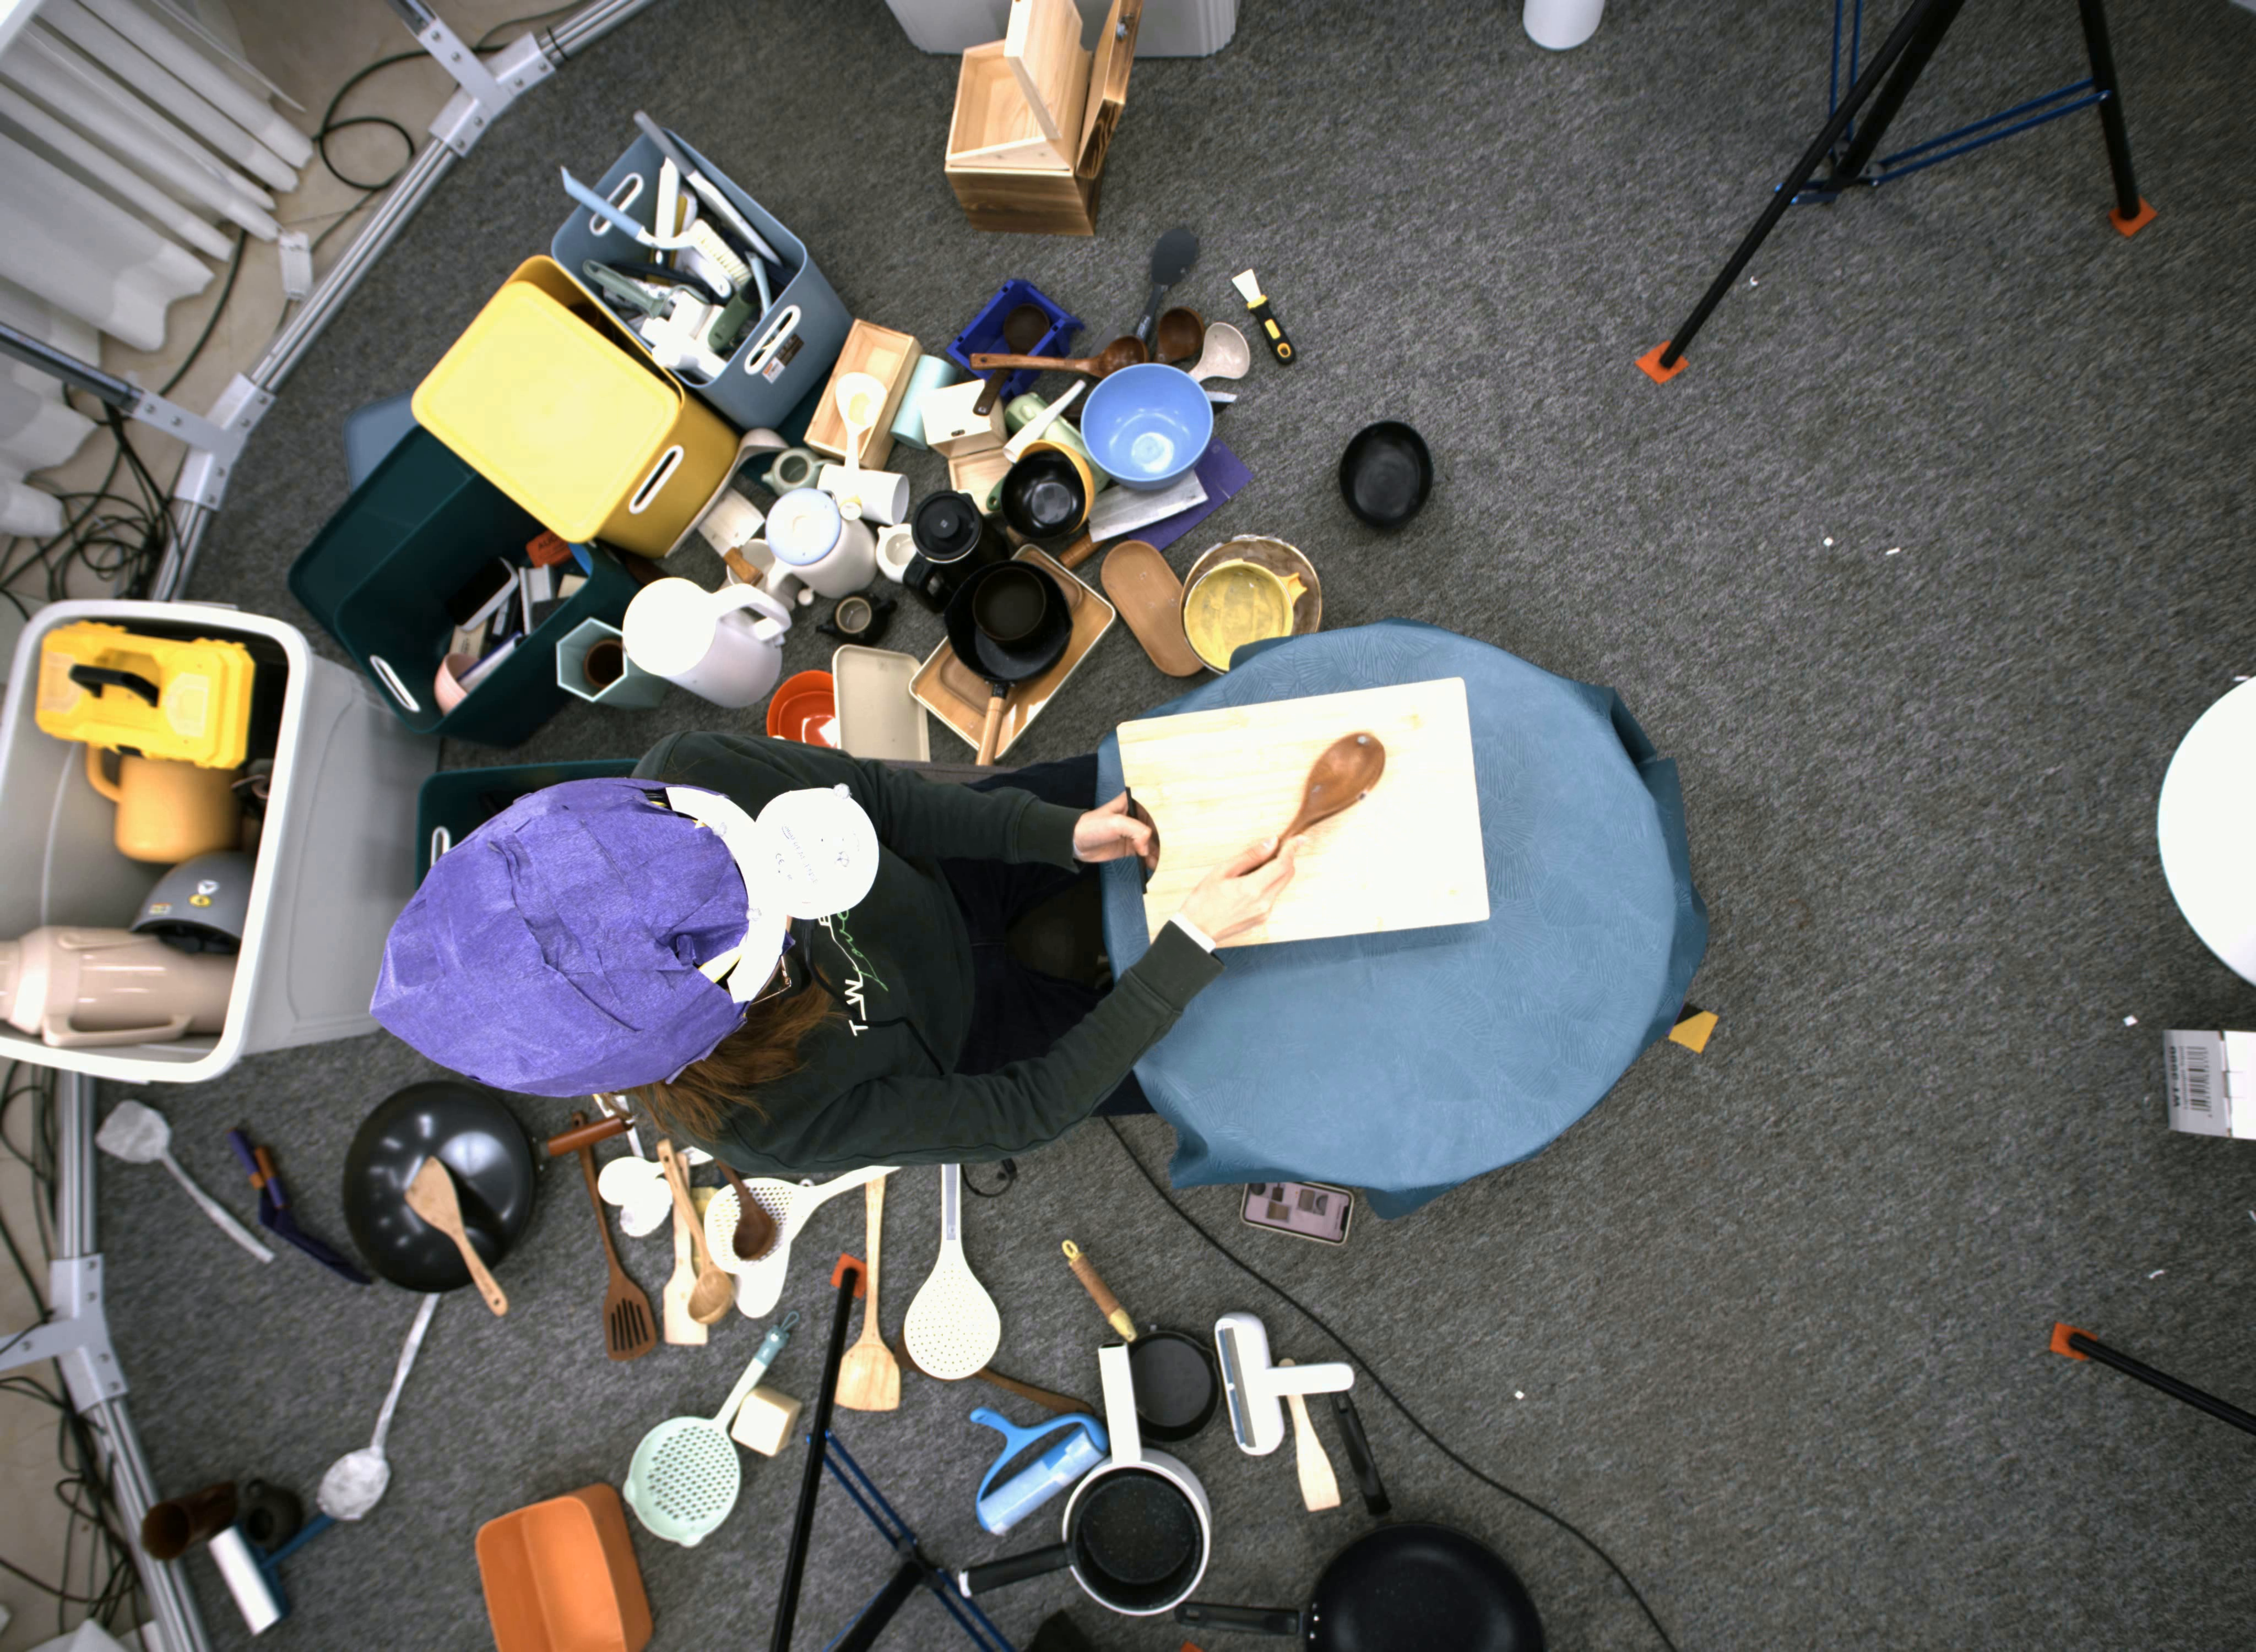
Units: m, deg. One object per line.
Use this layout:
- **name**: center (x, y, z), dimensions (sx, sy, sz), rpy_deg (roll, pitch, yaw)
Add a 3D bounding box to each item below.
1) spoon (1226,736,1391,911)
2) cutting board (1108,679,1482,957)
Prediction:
- **spoon**: center (0.170, -0.001, 1.322), dimensions (0.217, 0.017, 0.074), rpy_deg (-47, 45, 5)
- **cutting board**: center (0.169, -0.005, 1.373), dimensions (0.350, 0.023, 0.253), rpy_deg (-8, 102, 12)
